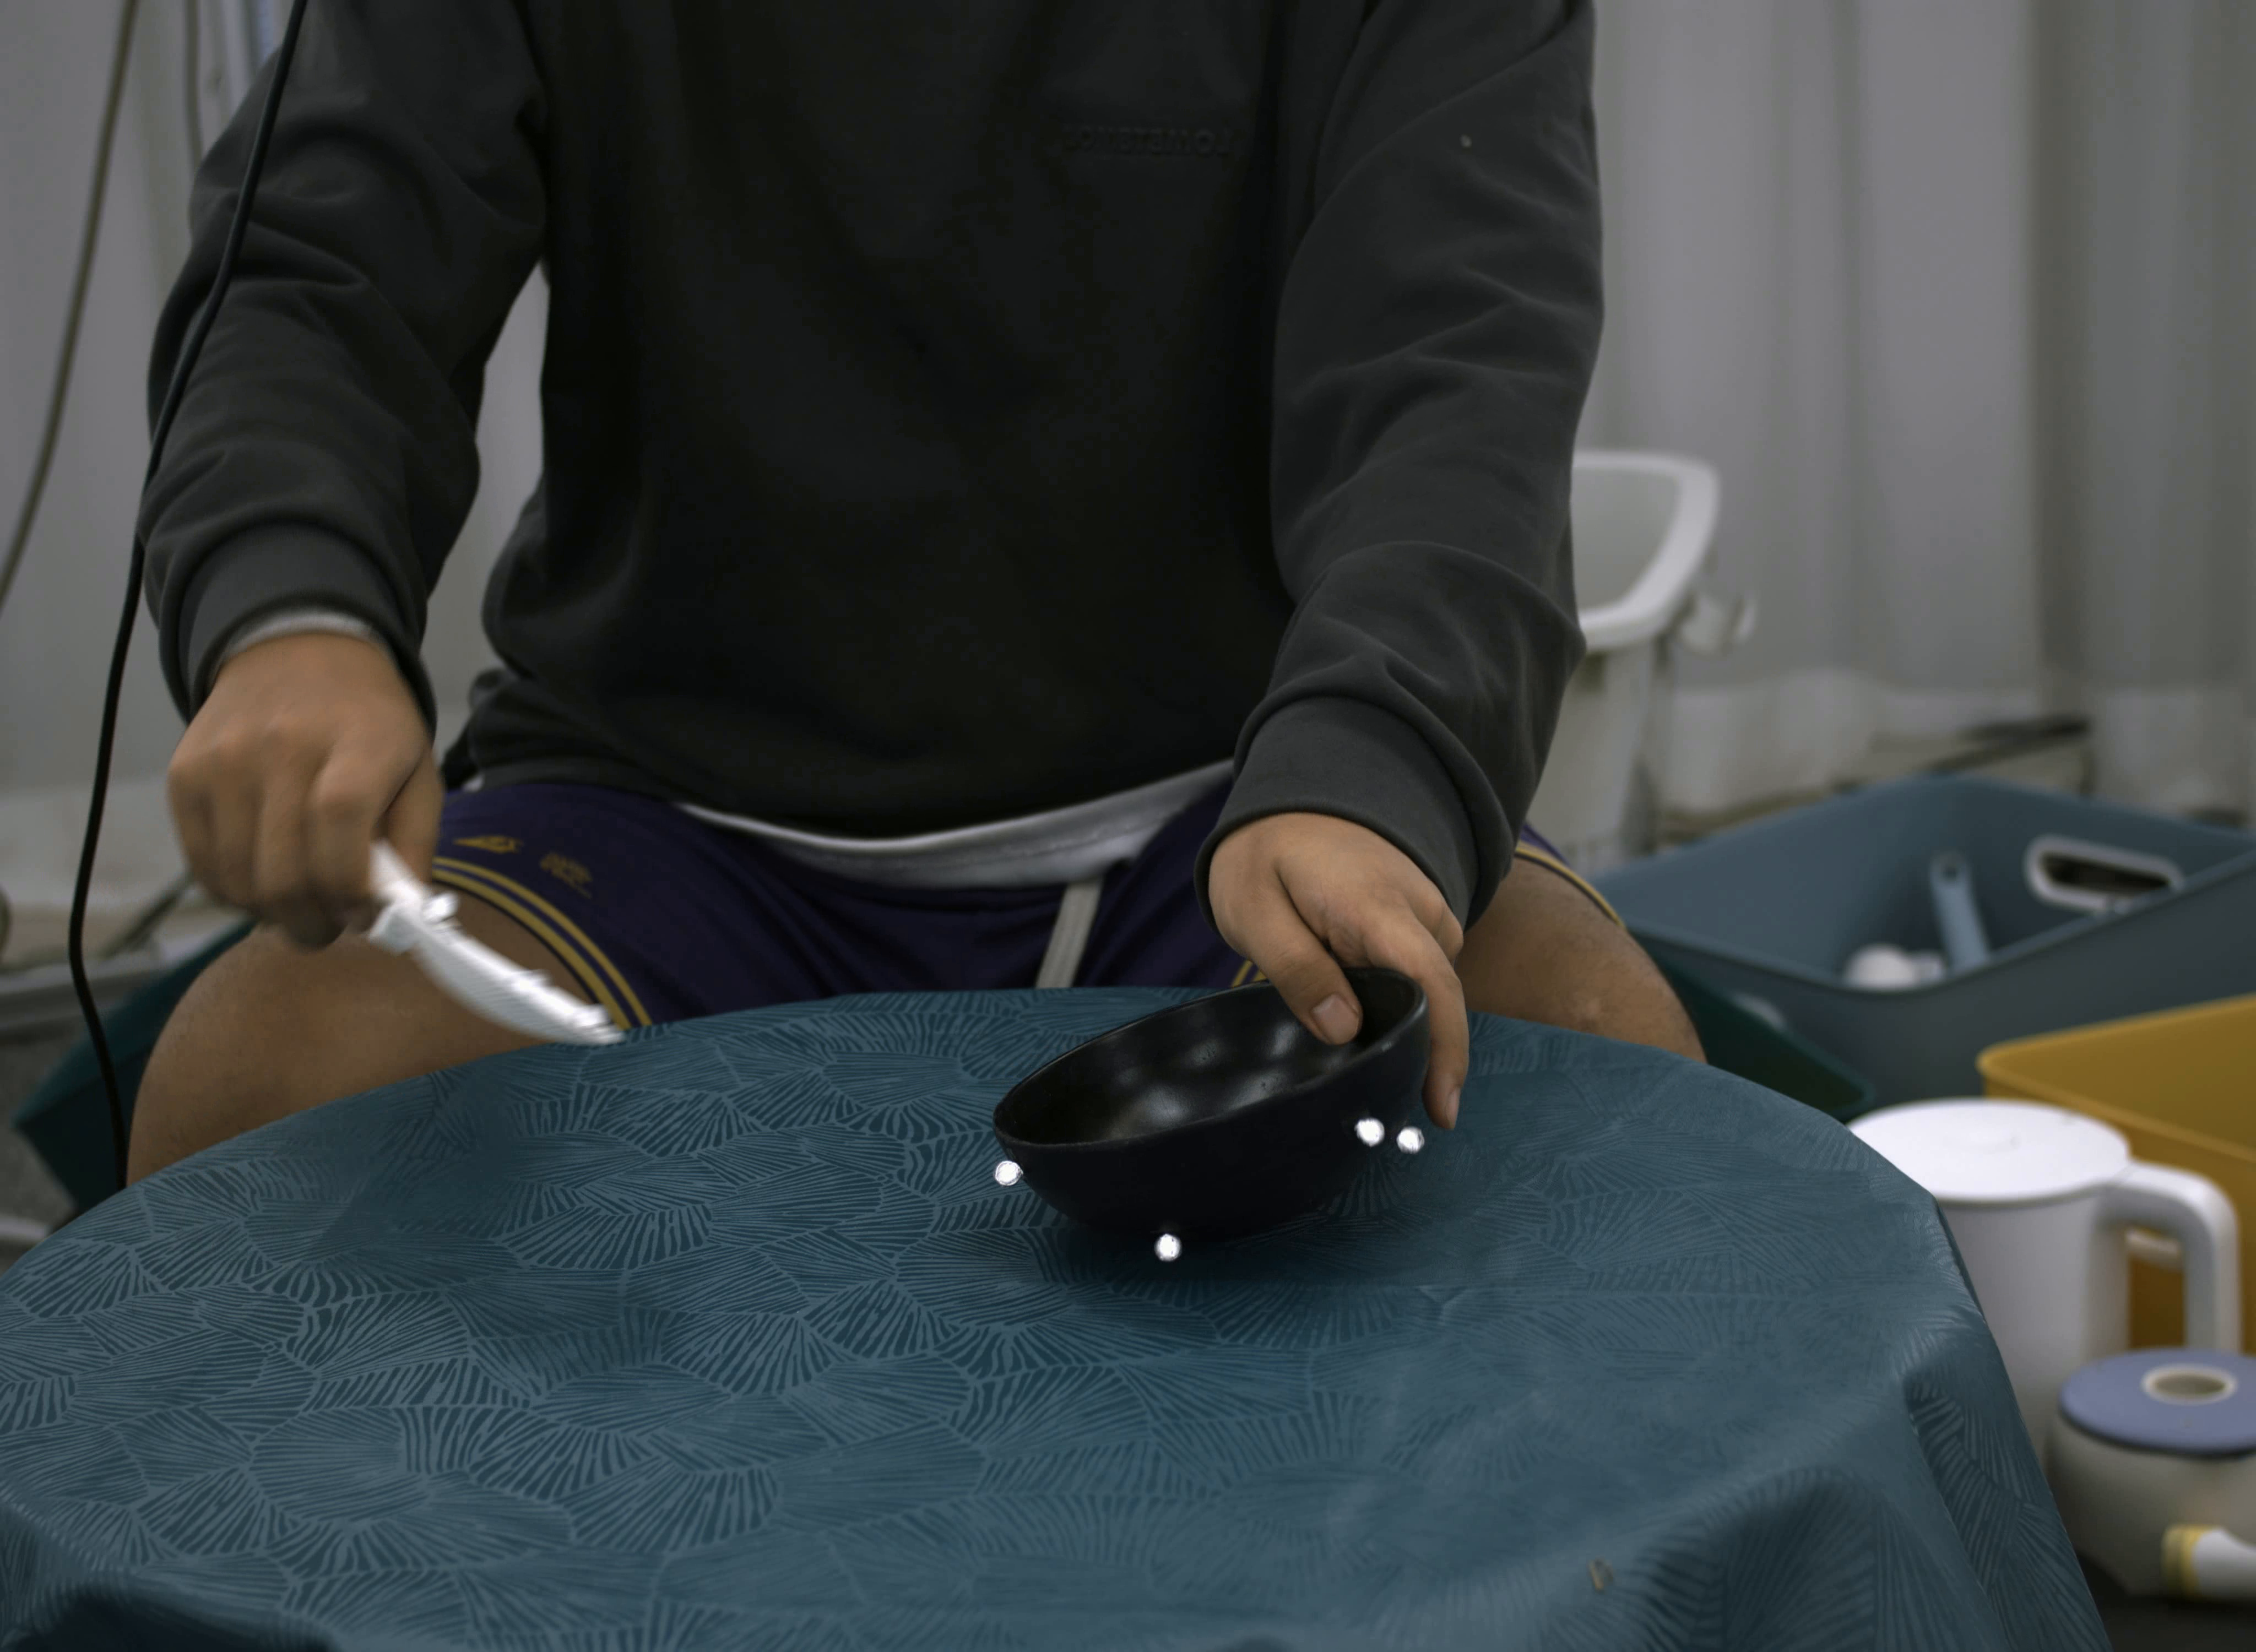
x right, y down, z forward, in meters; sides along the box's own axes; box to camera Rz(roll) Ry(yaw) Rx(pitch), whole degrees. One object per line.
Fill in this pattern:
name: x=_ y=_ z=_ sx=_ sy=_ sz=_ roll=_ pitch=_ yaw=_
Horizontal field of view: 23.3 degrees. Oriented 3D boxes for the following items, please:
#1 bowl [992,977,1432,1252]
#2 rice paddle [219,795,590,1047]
bowl: x=0.031 y=0.094 z=1.667 sx=0.139 sy=0.049 sz=0.141 roll=-16 pitch=11 yaw=3
rice paddle: x=-0.225 y=0.031 z=1.689 sx=0.068 sy=0.029 sz=0.207 roll=32 pitch=-4 yaw=-36
